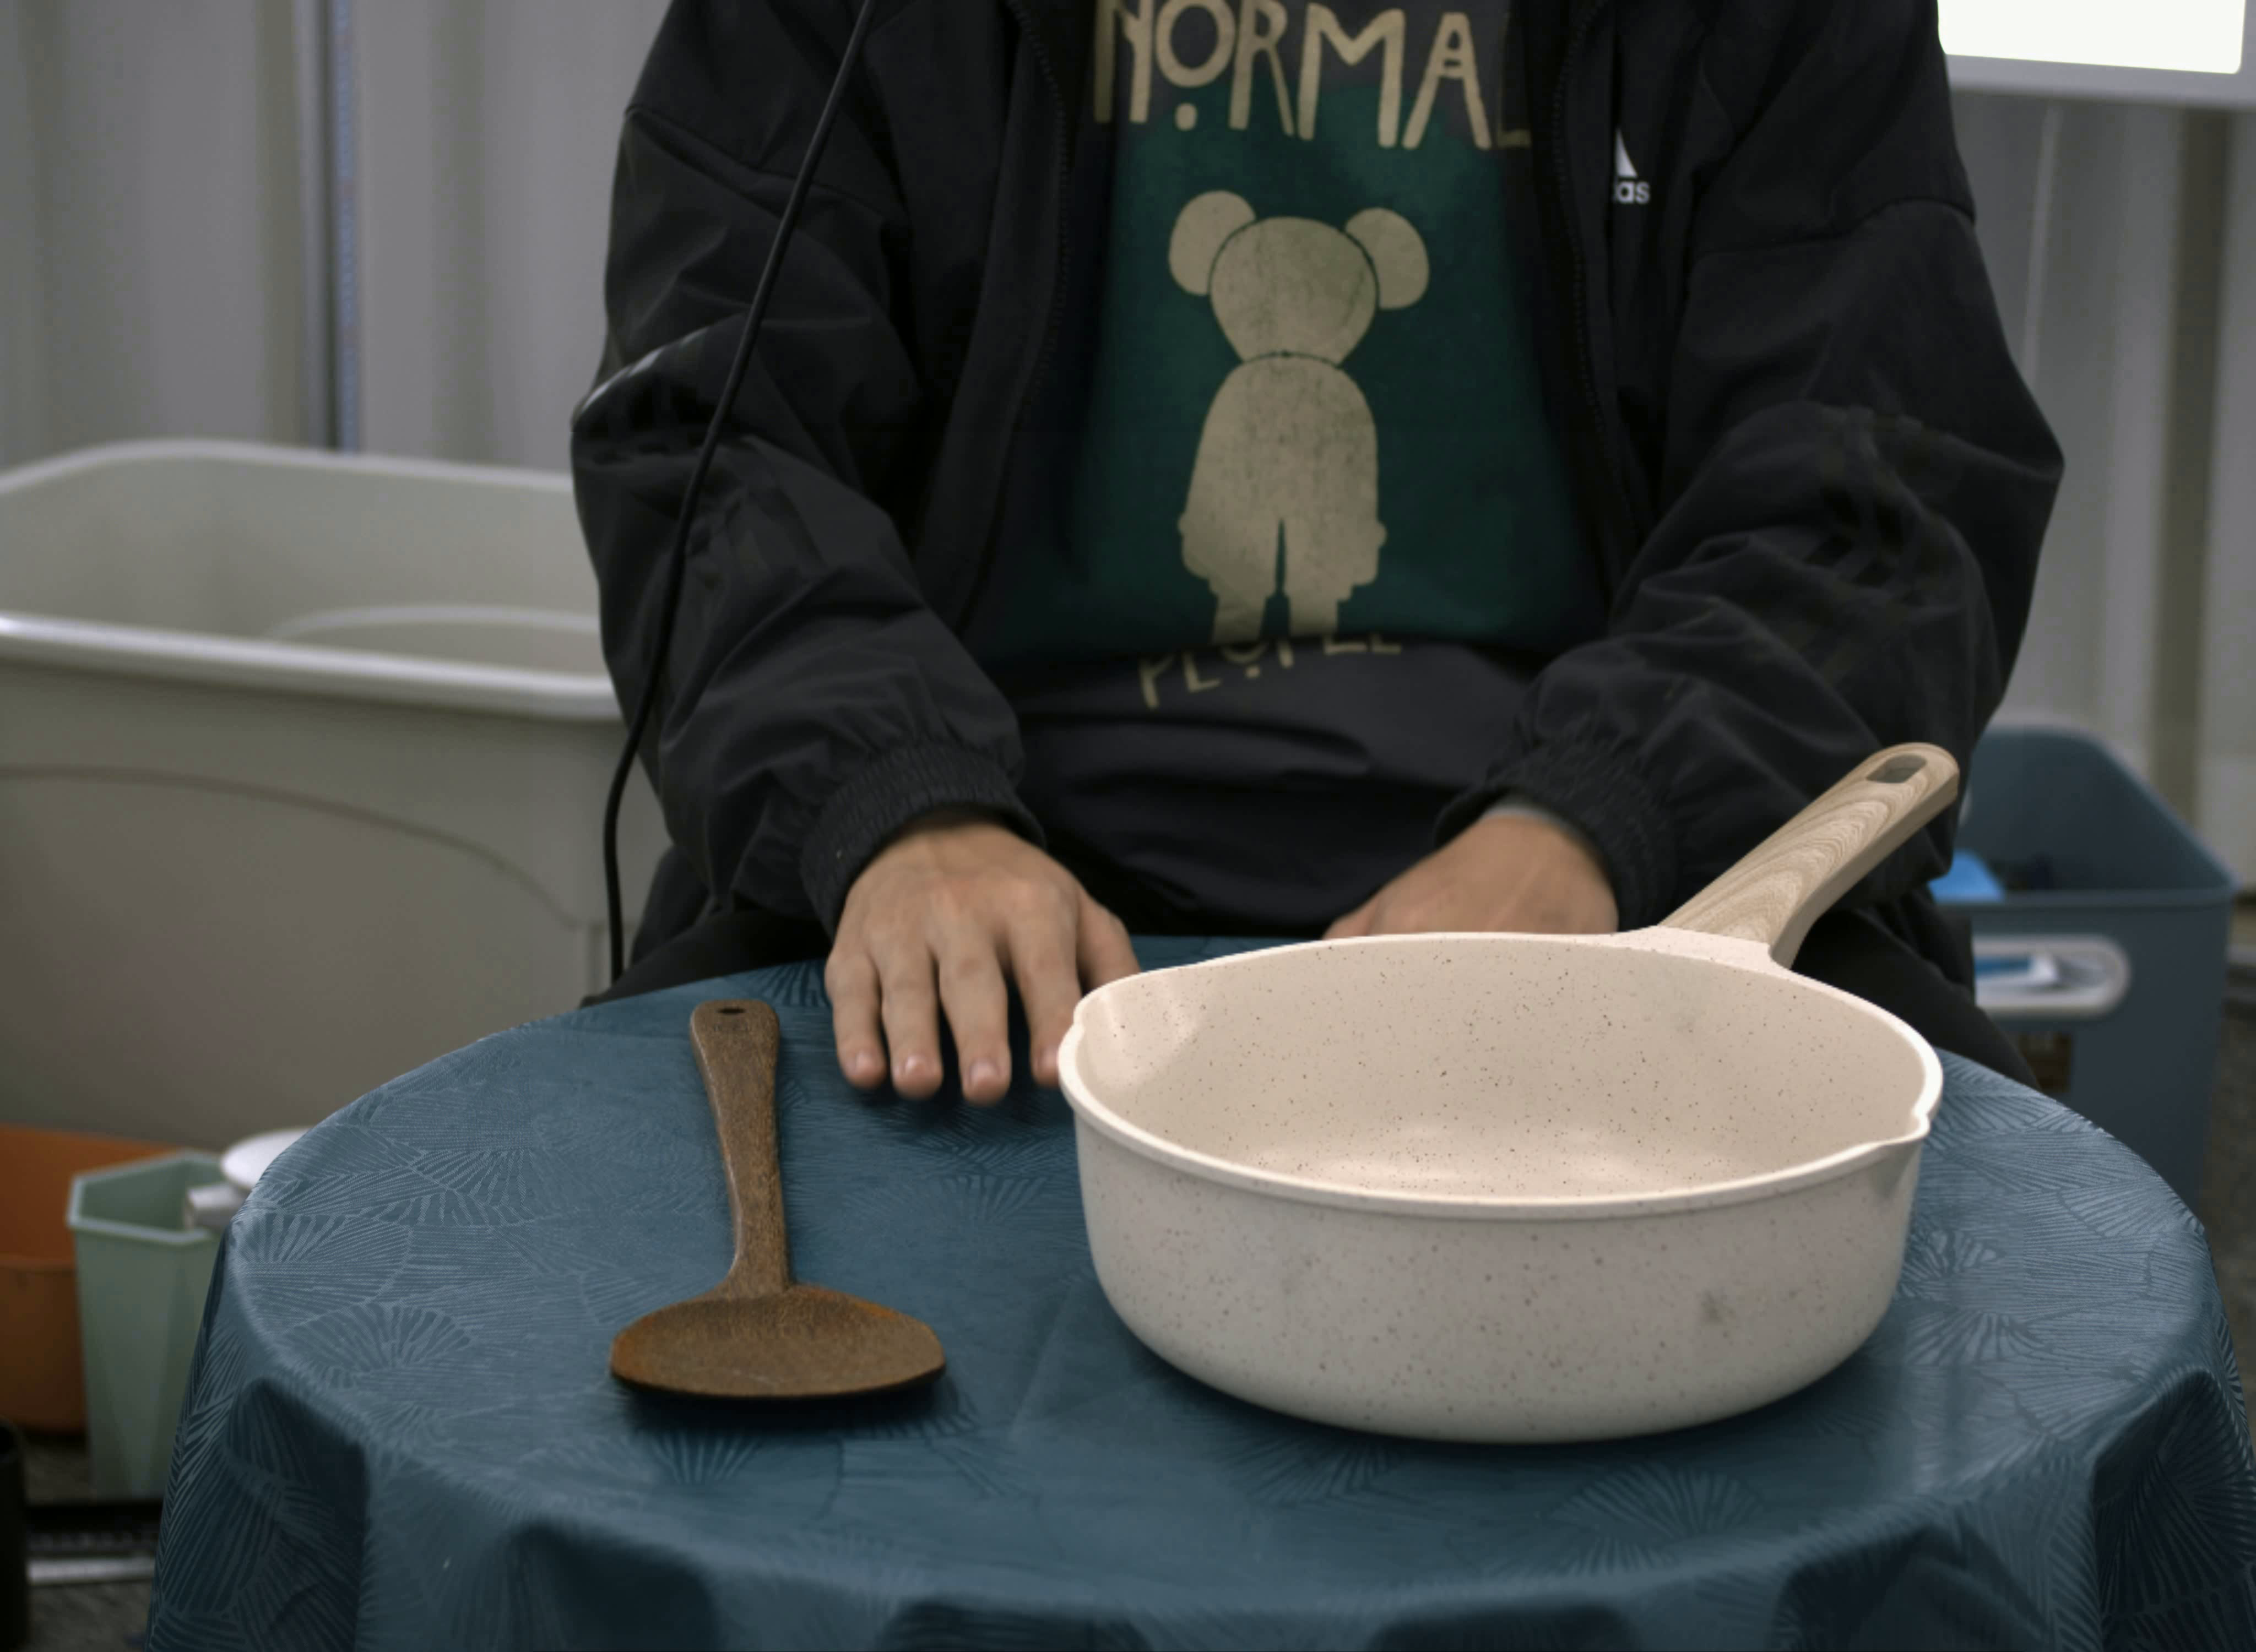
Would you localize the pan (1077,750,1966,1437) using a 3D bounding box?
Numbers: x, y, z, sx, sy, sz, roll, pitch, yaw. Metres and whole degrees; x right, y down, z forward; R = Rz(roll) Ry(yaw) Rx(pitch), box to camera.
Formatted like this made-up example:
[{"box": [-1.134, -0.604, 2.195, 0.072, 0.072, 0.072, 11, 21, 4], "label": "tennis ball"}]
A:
[{"box": [0.157, 0.074, 1.576, 0.260, 0.103, 0.436, 7, 17, 29], "label": "pan"}]

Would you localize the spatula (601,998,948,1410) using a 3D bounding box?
[{"box": [-0.115, 0.108, 1.607, 0.096, 0.016, 0.383, -1, 15, -6], "label": "spatula"}]
